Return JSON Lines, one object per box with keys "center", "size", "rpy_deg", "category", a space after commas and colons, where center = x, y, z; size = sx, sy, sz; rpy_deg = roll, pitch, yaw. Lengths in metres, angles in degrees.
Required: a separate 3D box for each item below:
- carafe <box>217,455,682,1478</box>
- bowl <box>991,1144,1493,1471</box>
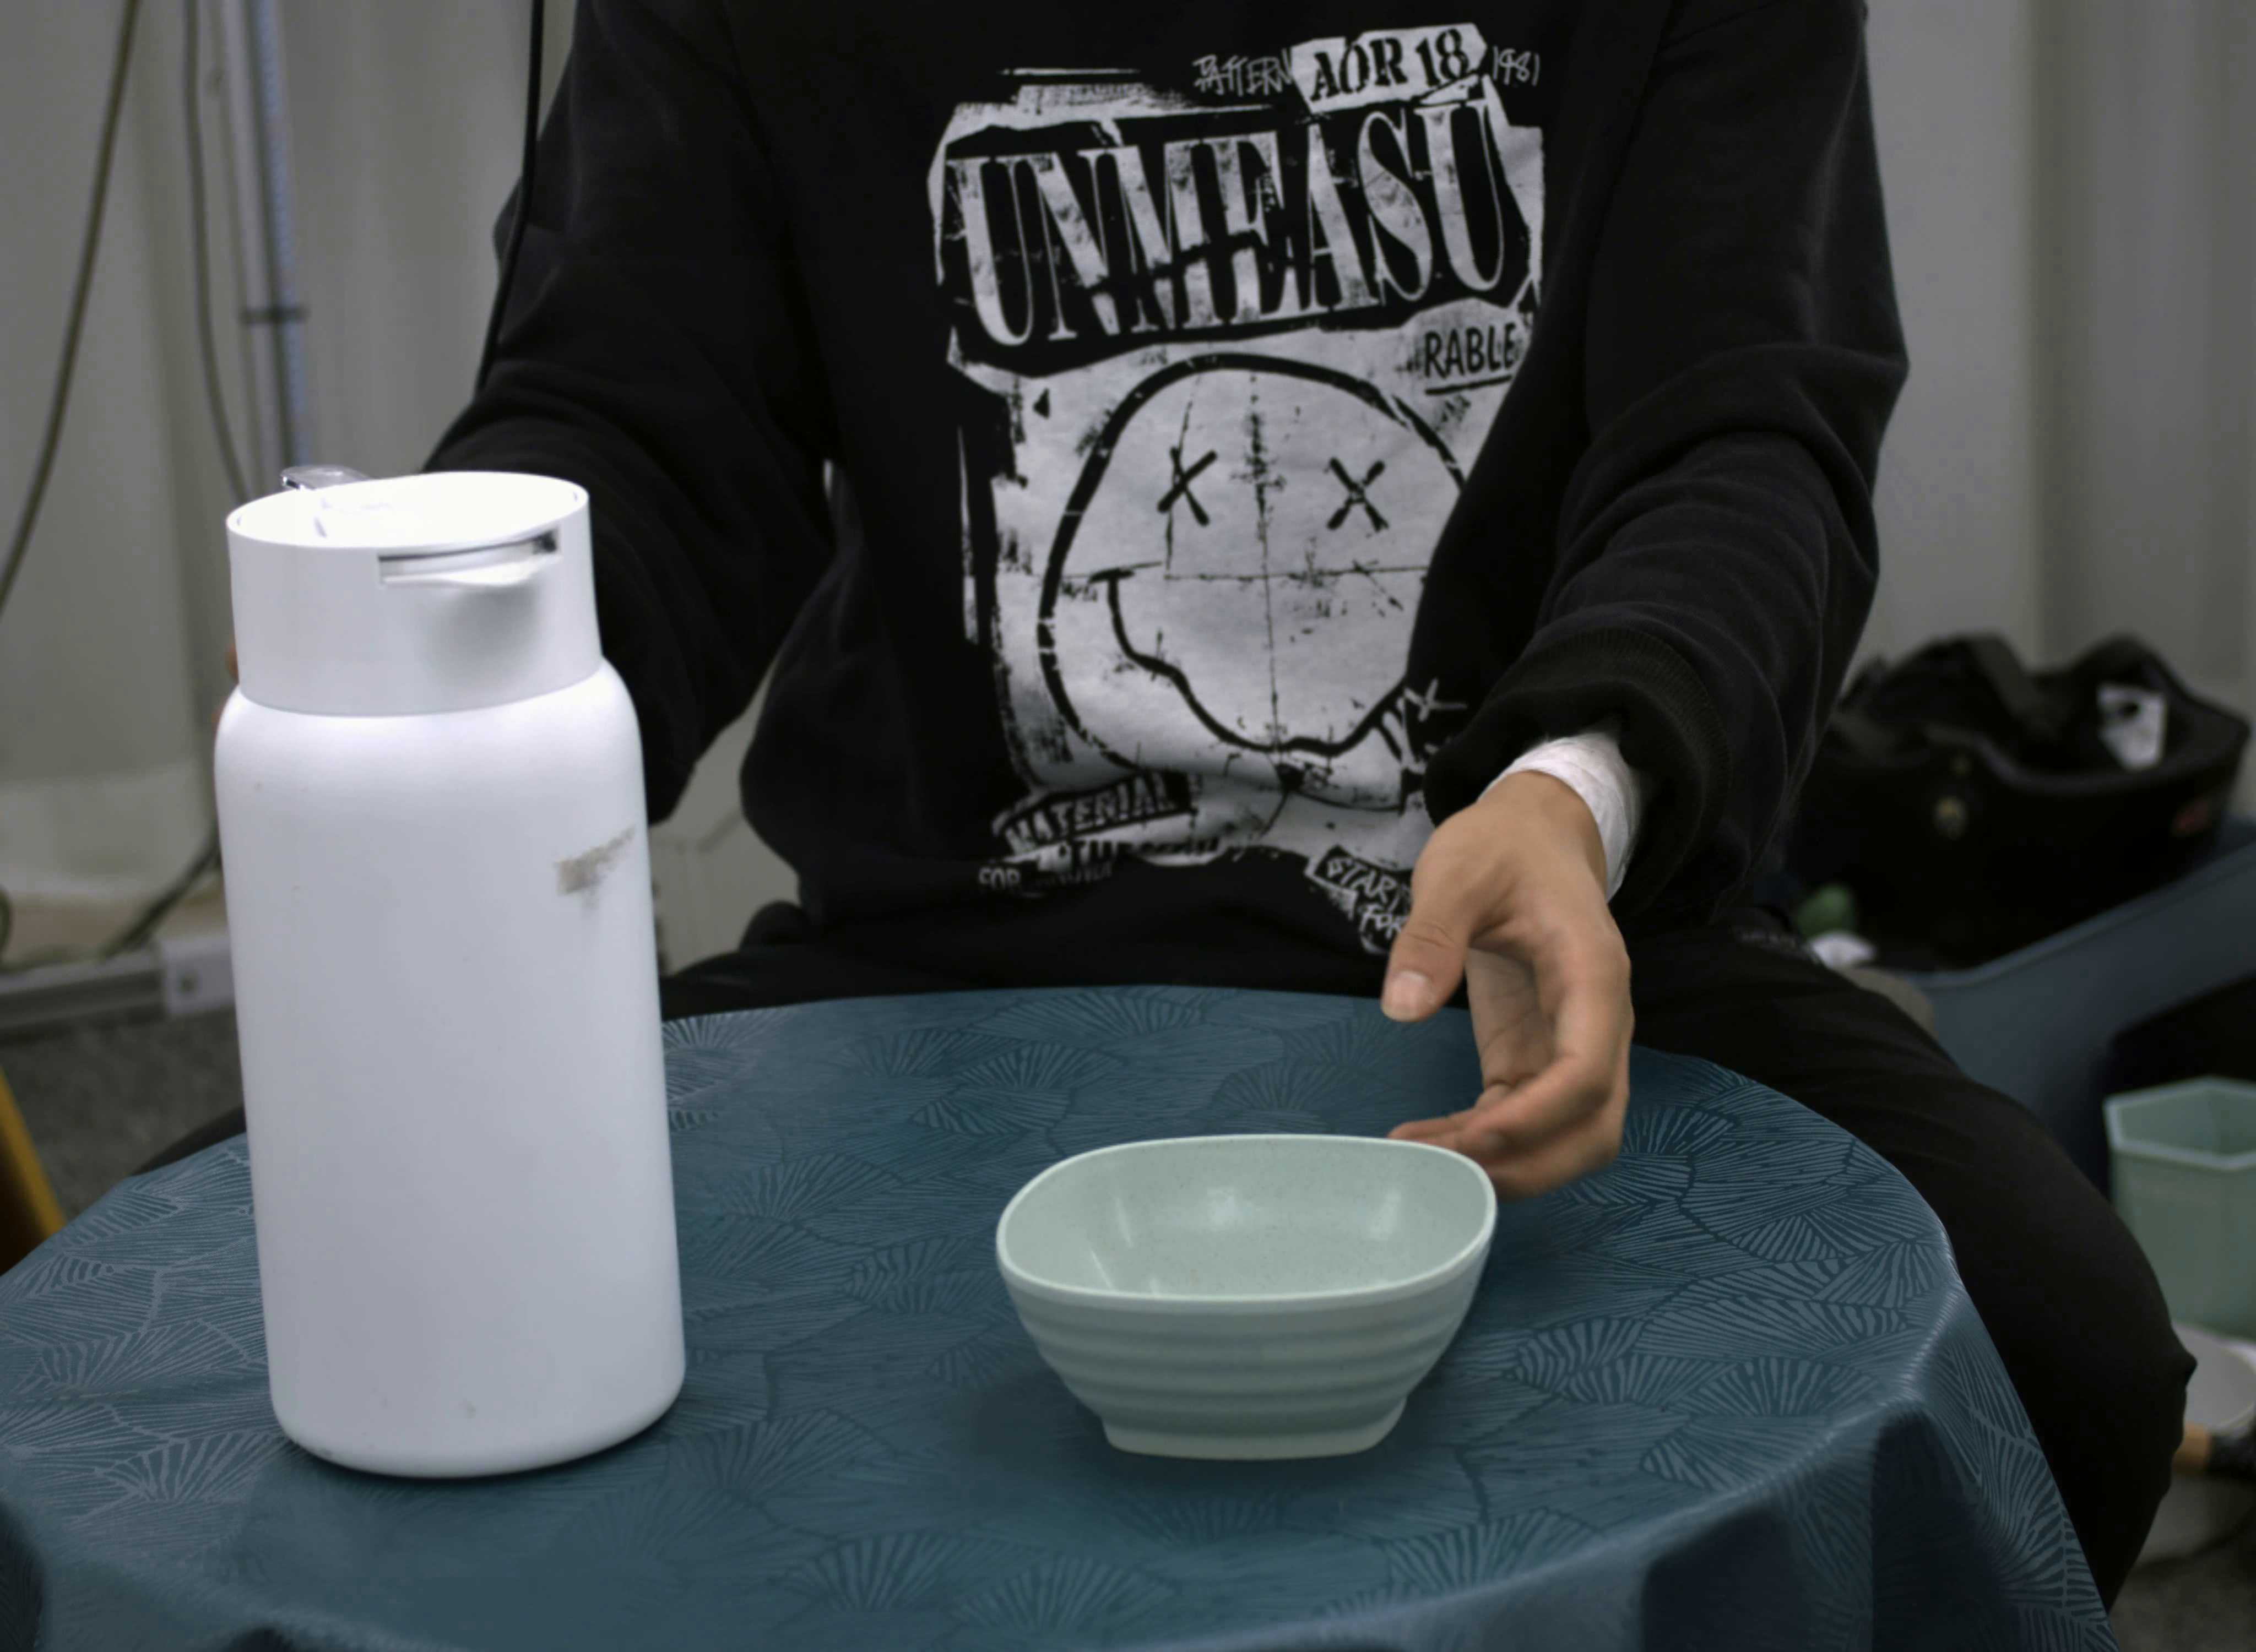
{"center": [-0.199, 0.036, 1.535], "size": [0.123, 0.268, 0.174], "rpy_deg": [-13, 17, -29], "category": "carafe"}
{"center": [0.033, 0.137, 1.522], "size": [0.151, 0.058, 0.152], "rpy_deg": [-2, 14, 0], "category": "bowl"}
